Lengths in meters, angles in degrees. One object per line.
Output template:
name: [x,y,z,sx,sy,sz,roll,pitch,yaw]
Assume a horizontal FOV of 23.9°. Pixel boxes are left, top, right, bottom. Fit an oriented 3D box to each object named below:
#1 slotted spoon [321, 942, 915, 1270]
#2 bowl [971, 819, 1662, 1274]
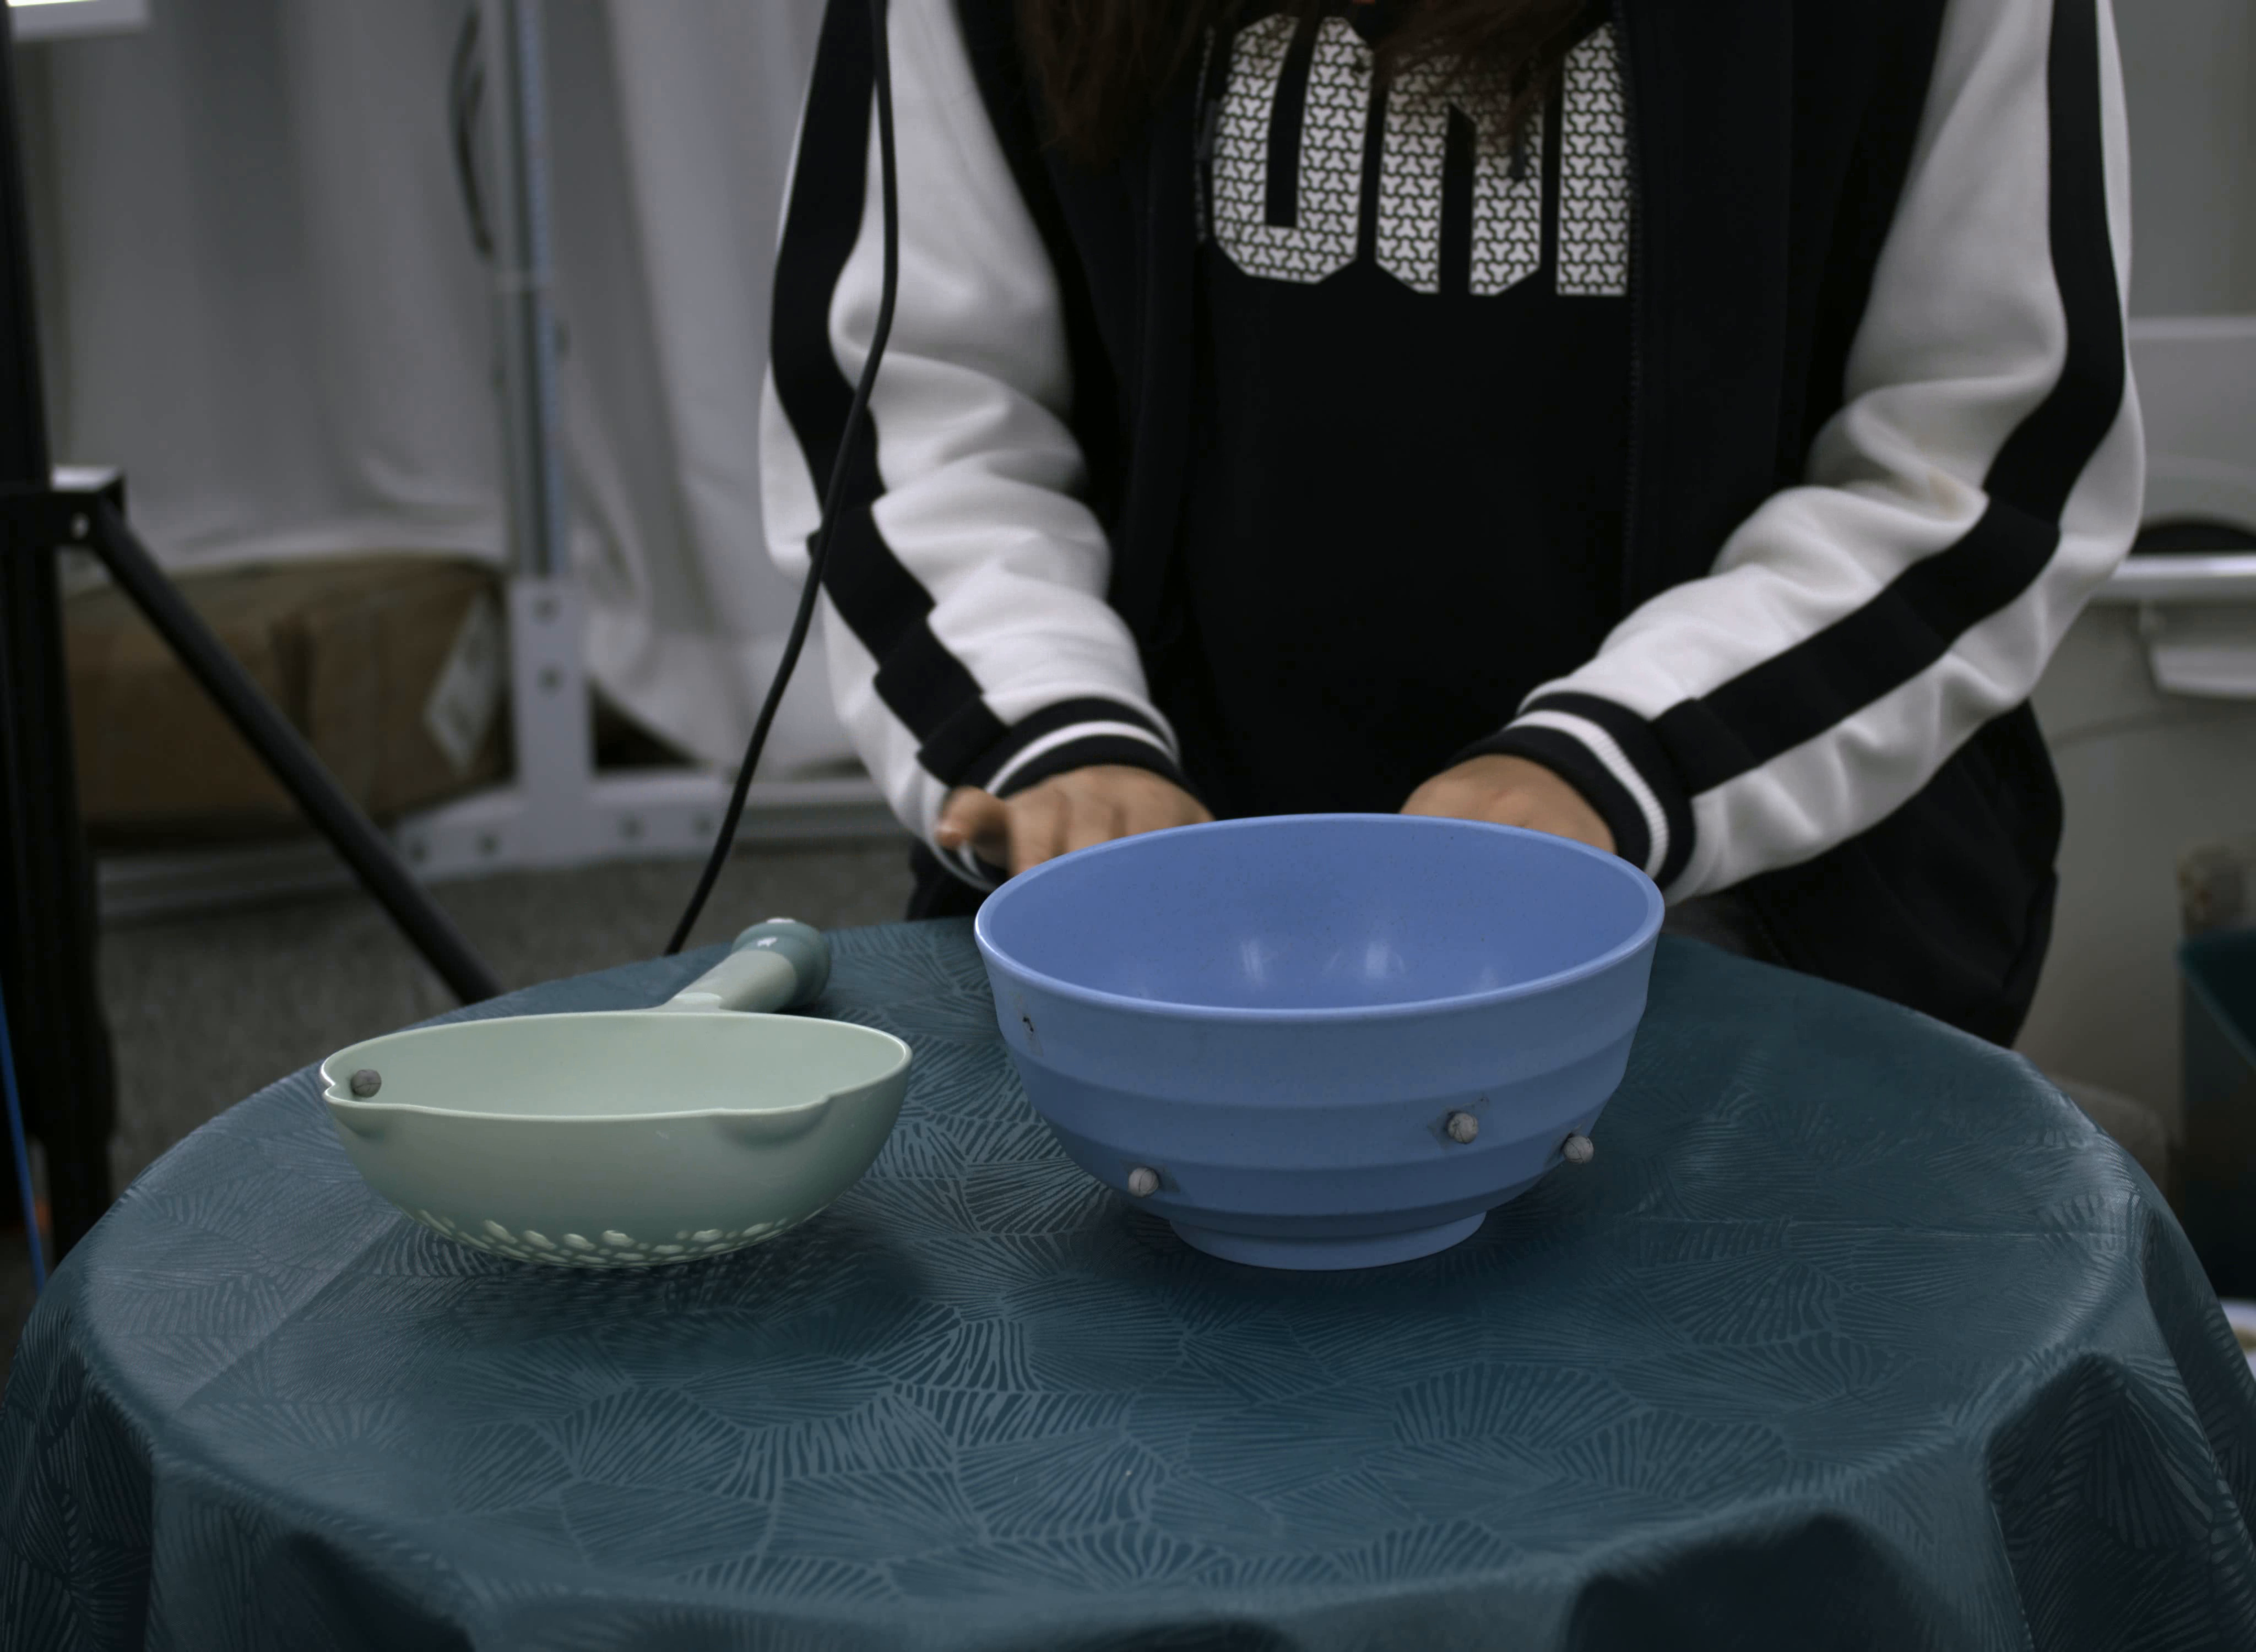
slotted spoon: [-0.131,0.069,1.612,0.170,0.075,0.357,1,14,9]
bowl: [0.055,0.068,1.517,0.195,0.095,0.197,-3,15,-1]
